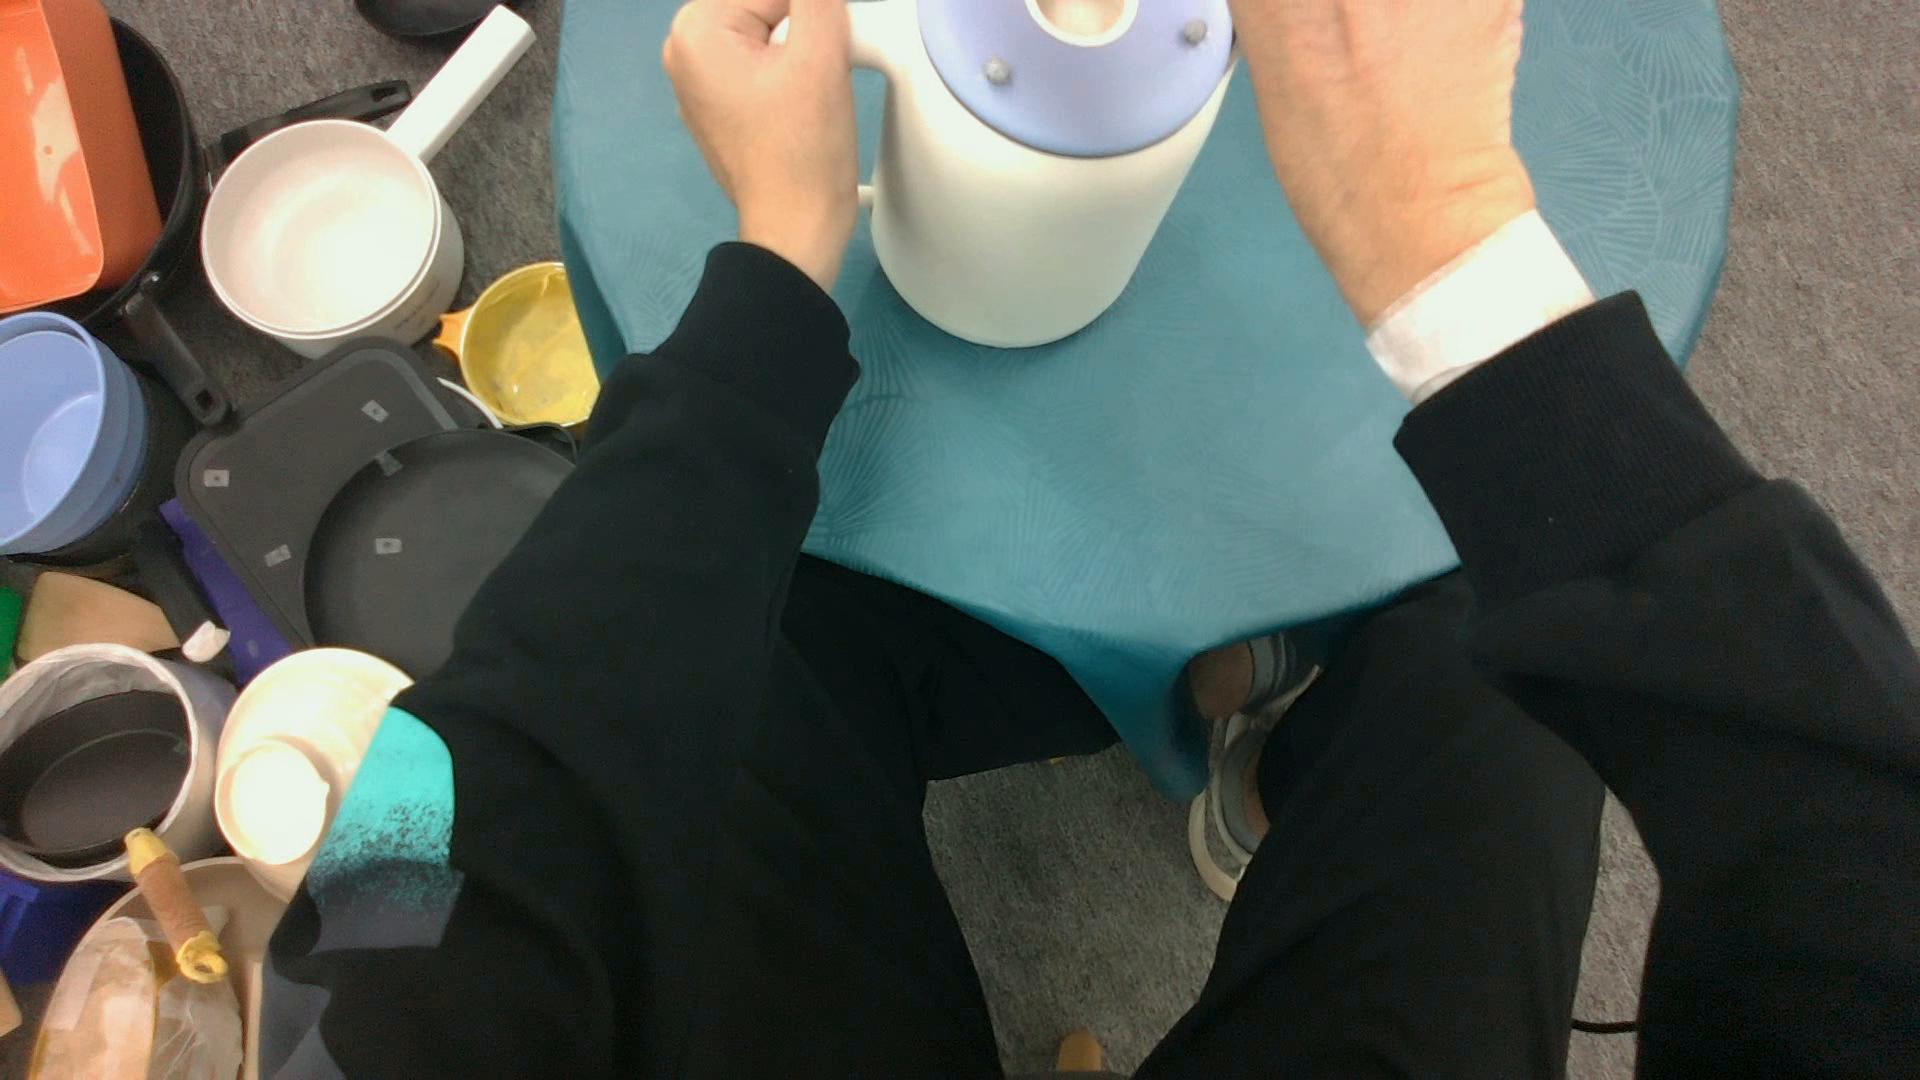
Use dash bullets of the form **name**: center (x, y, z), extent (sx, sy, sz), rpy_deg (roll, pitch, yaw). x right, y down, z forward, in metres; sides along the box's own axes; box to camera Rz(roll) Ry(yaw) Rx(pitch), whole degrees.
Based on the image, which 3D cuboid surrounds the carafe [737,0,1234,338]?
- **carafe**: center (0.001, -0.177, 0.583), extent (0.191, 0.182, 0.132), rpy_deg (-1, 74, -7)
